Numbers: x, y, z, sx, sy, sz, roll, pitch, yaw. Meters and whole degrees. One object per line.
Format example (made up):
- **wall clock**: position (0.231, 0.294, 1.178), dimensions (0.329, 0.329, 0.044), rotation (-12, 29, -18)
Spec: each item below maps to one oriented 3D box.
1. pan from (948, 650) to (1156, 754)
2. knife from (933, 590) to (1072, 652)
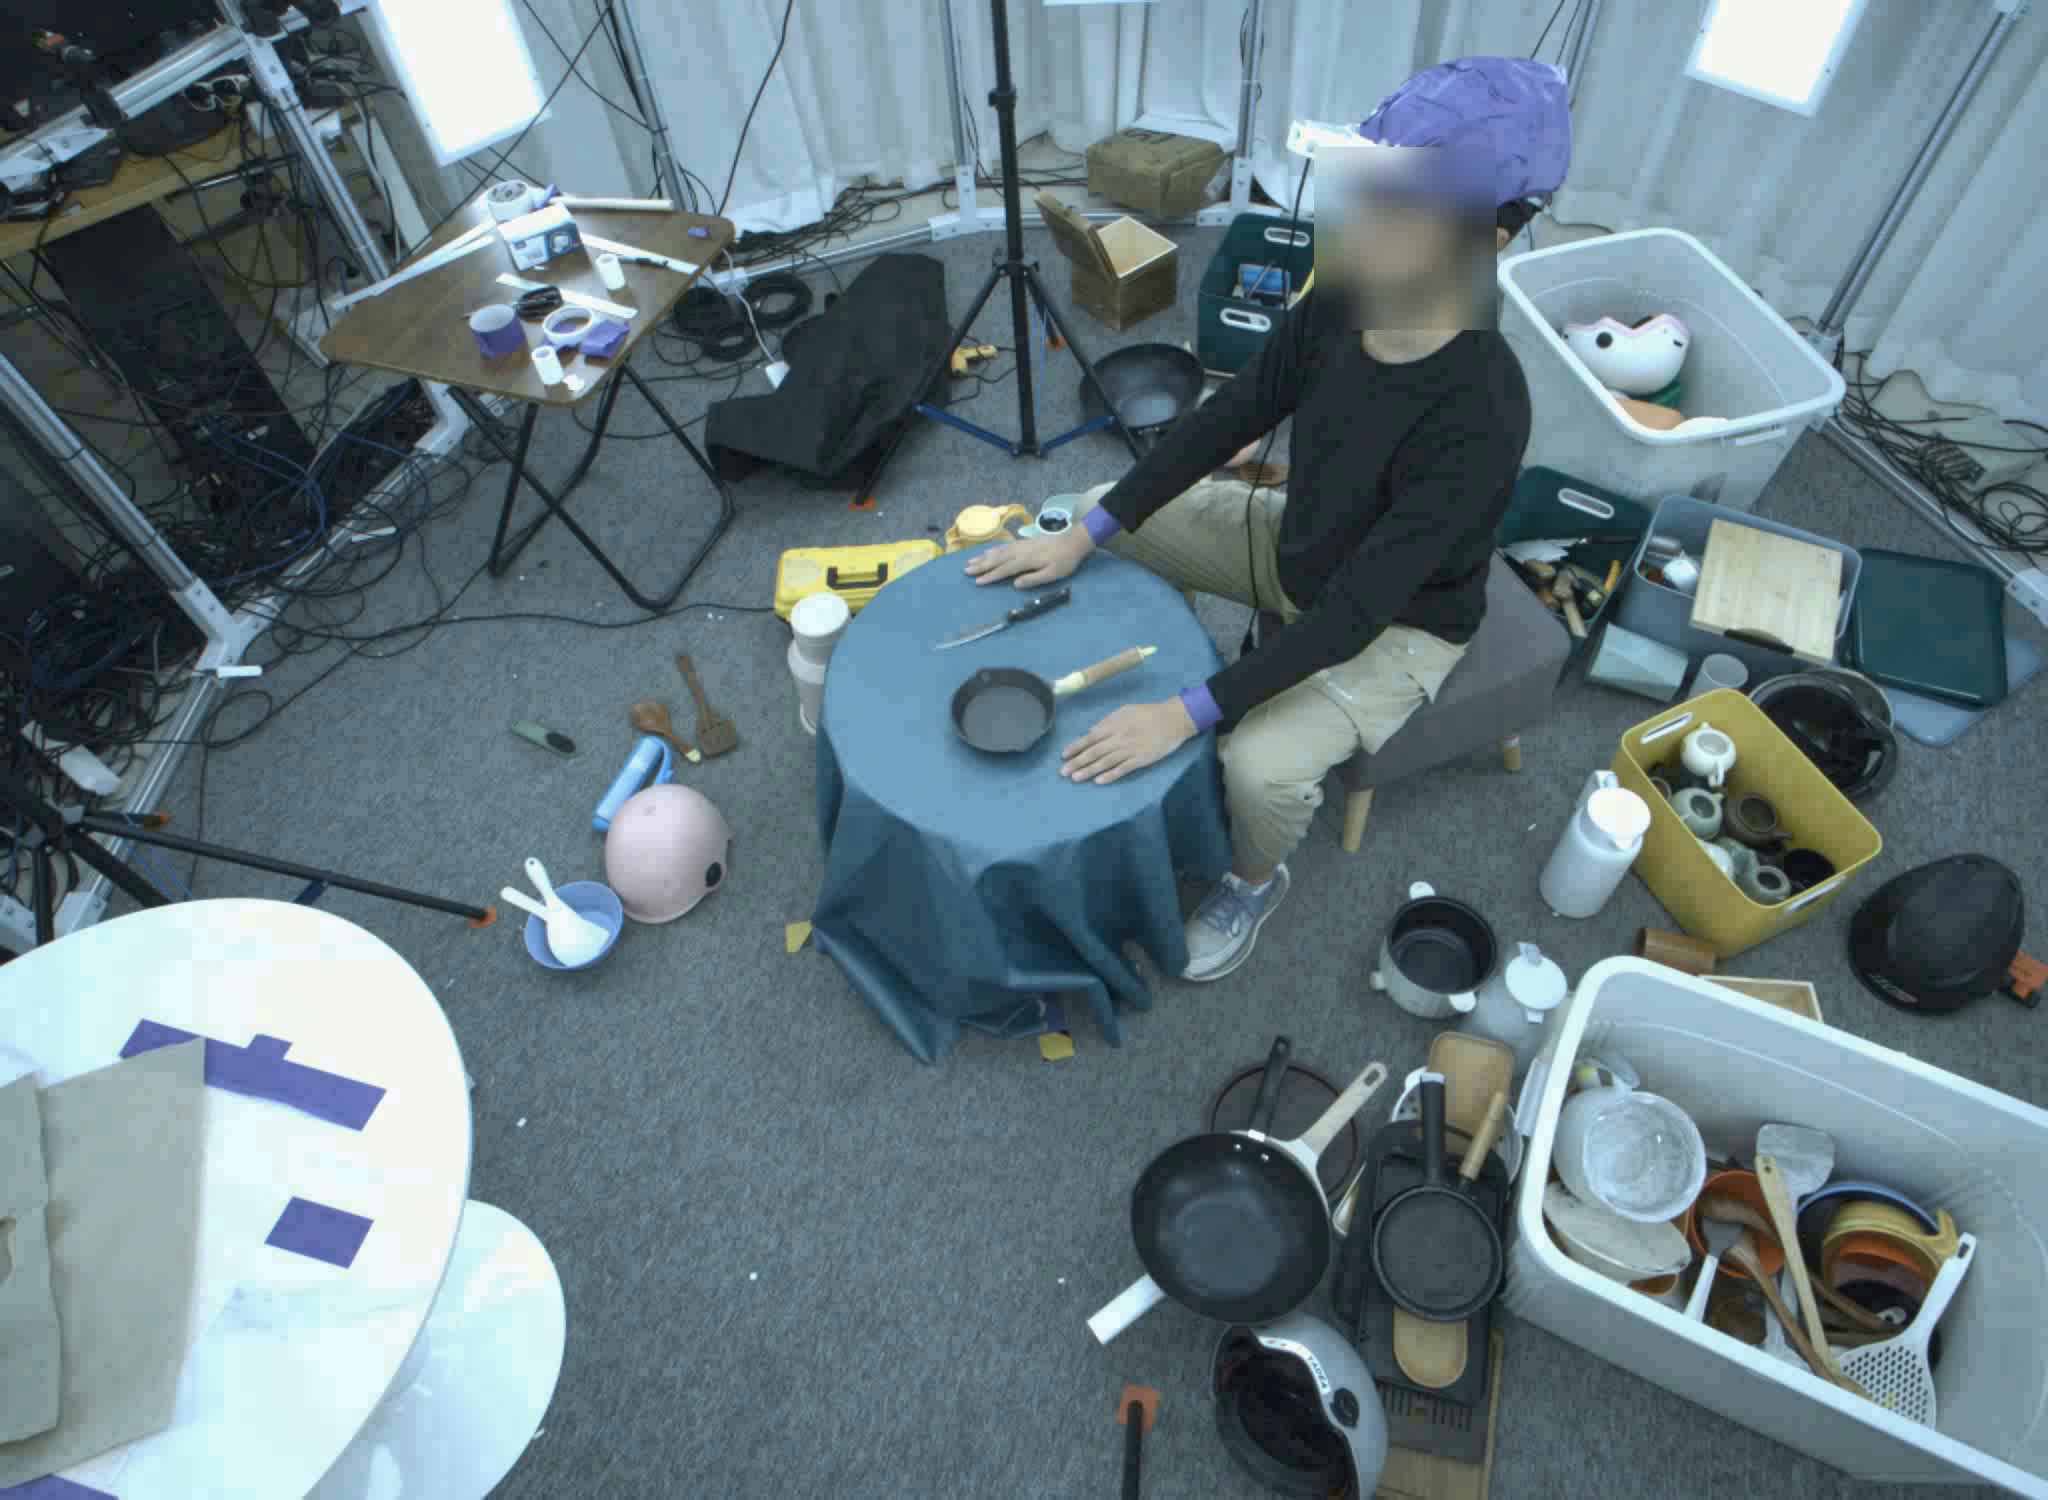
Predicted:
- **pan**: position (0.047, -0.085, 1.814), dimensions (0.326, 0.050, 0.166), rotation (-19, 56, -12)
- **knife**: position (-0.035, -0.202, 1.922), dimensions (0.239, 0.016, 0.024), rotation (-24, 57, -11)
